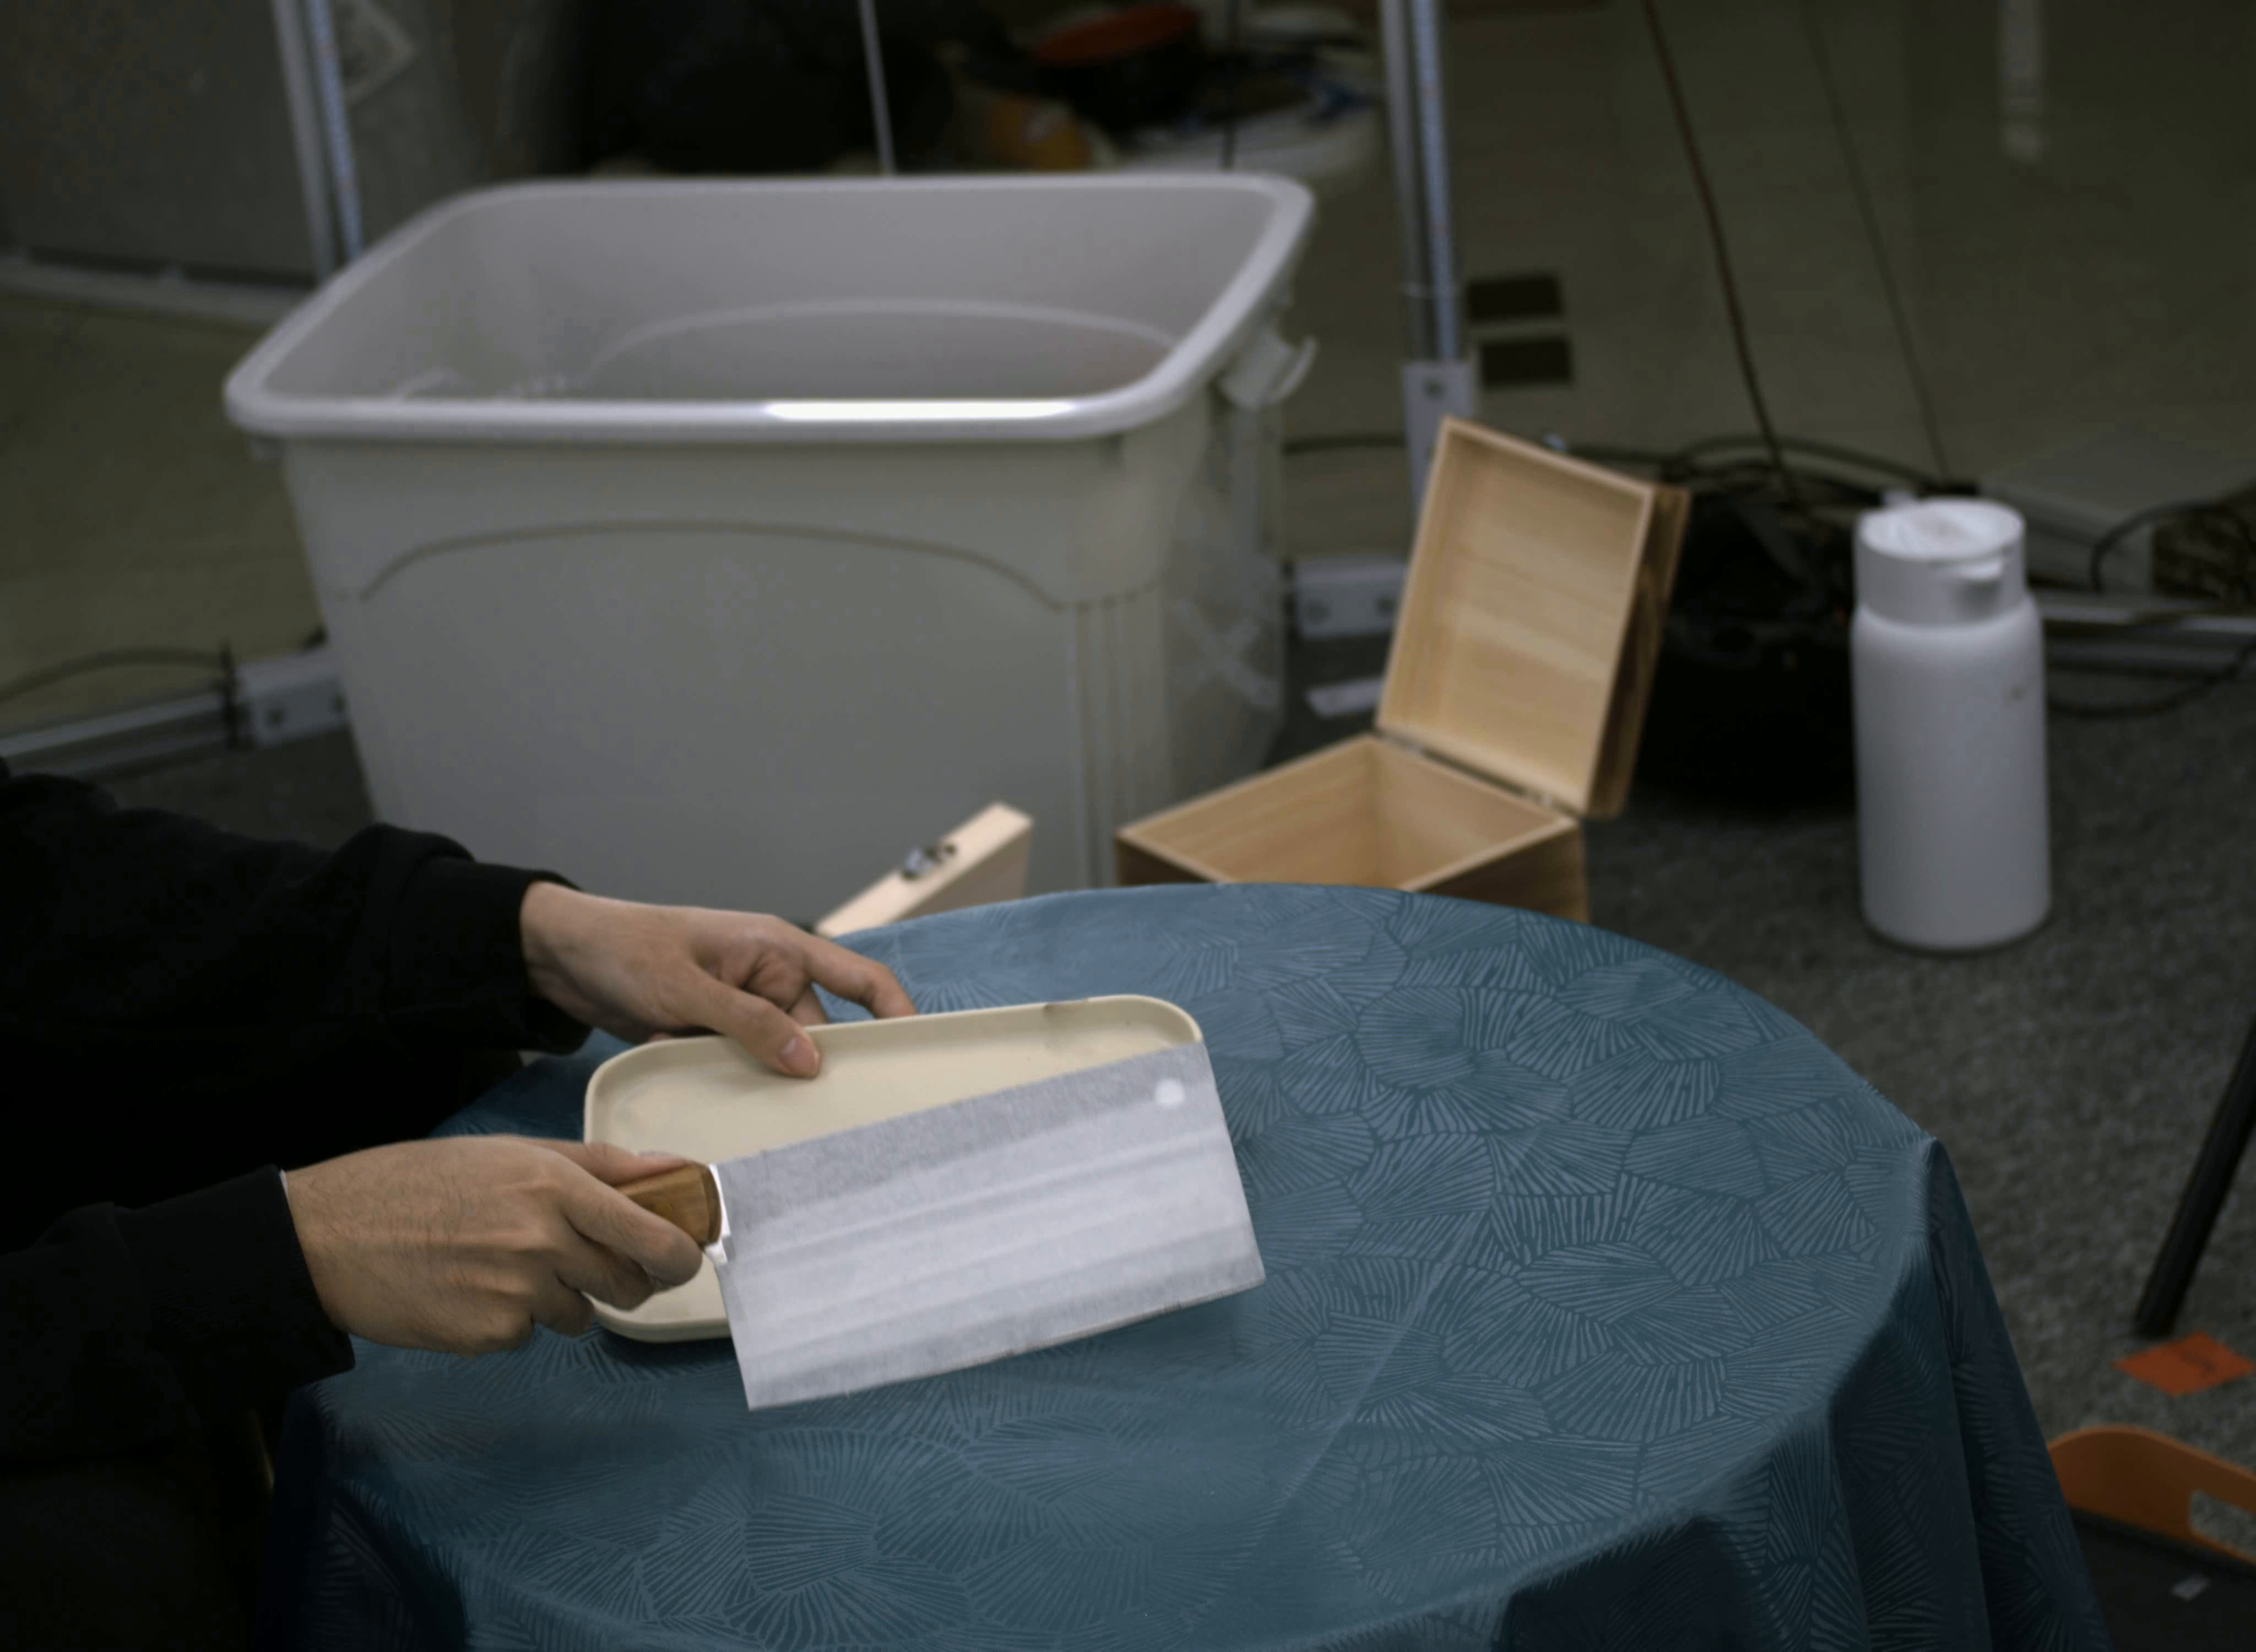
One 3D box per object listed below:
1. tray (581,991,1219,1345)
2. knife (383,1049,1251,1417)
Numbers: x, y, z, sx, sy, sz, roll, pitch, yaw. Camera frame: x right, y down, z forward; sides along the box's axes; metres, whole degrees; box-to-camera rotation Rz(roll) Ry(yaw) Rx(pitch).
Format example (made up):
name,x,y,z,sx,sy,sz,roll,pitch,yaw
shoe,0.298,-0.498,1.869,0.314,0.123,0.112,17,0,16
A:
name,x,y,z,sx,sy,sz,roll,pitch,yaw
tray,-0.086,0.129,2.132,0.239,0.018,0.168,-6,37,1
knife,-0.109,0.156,2.004,0.305,0.093,0.021,-14,3,5
